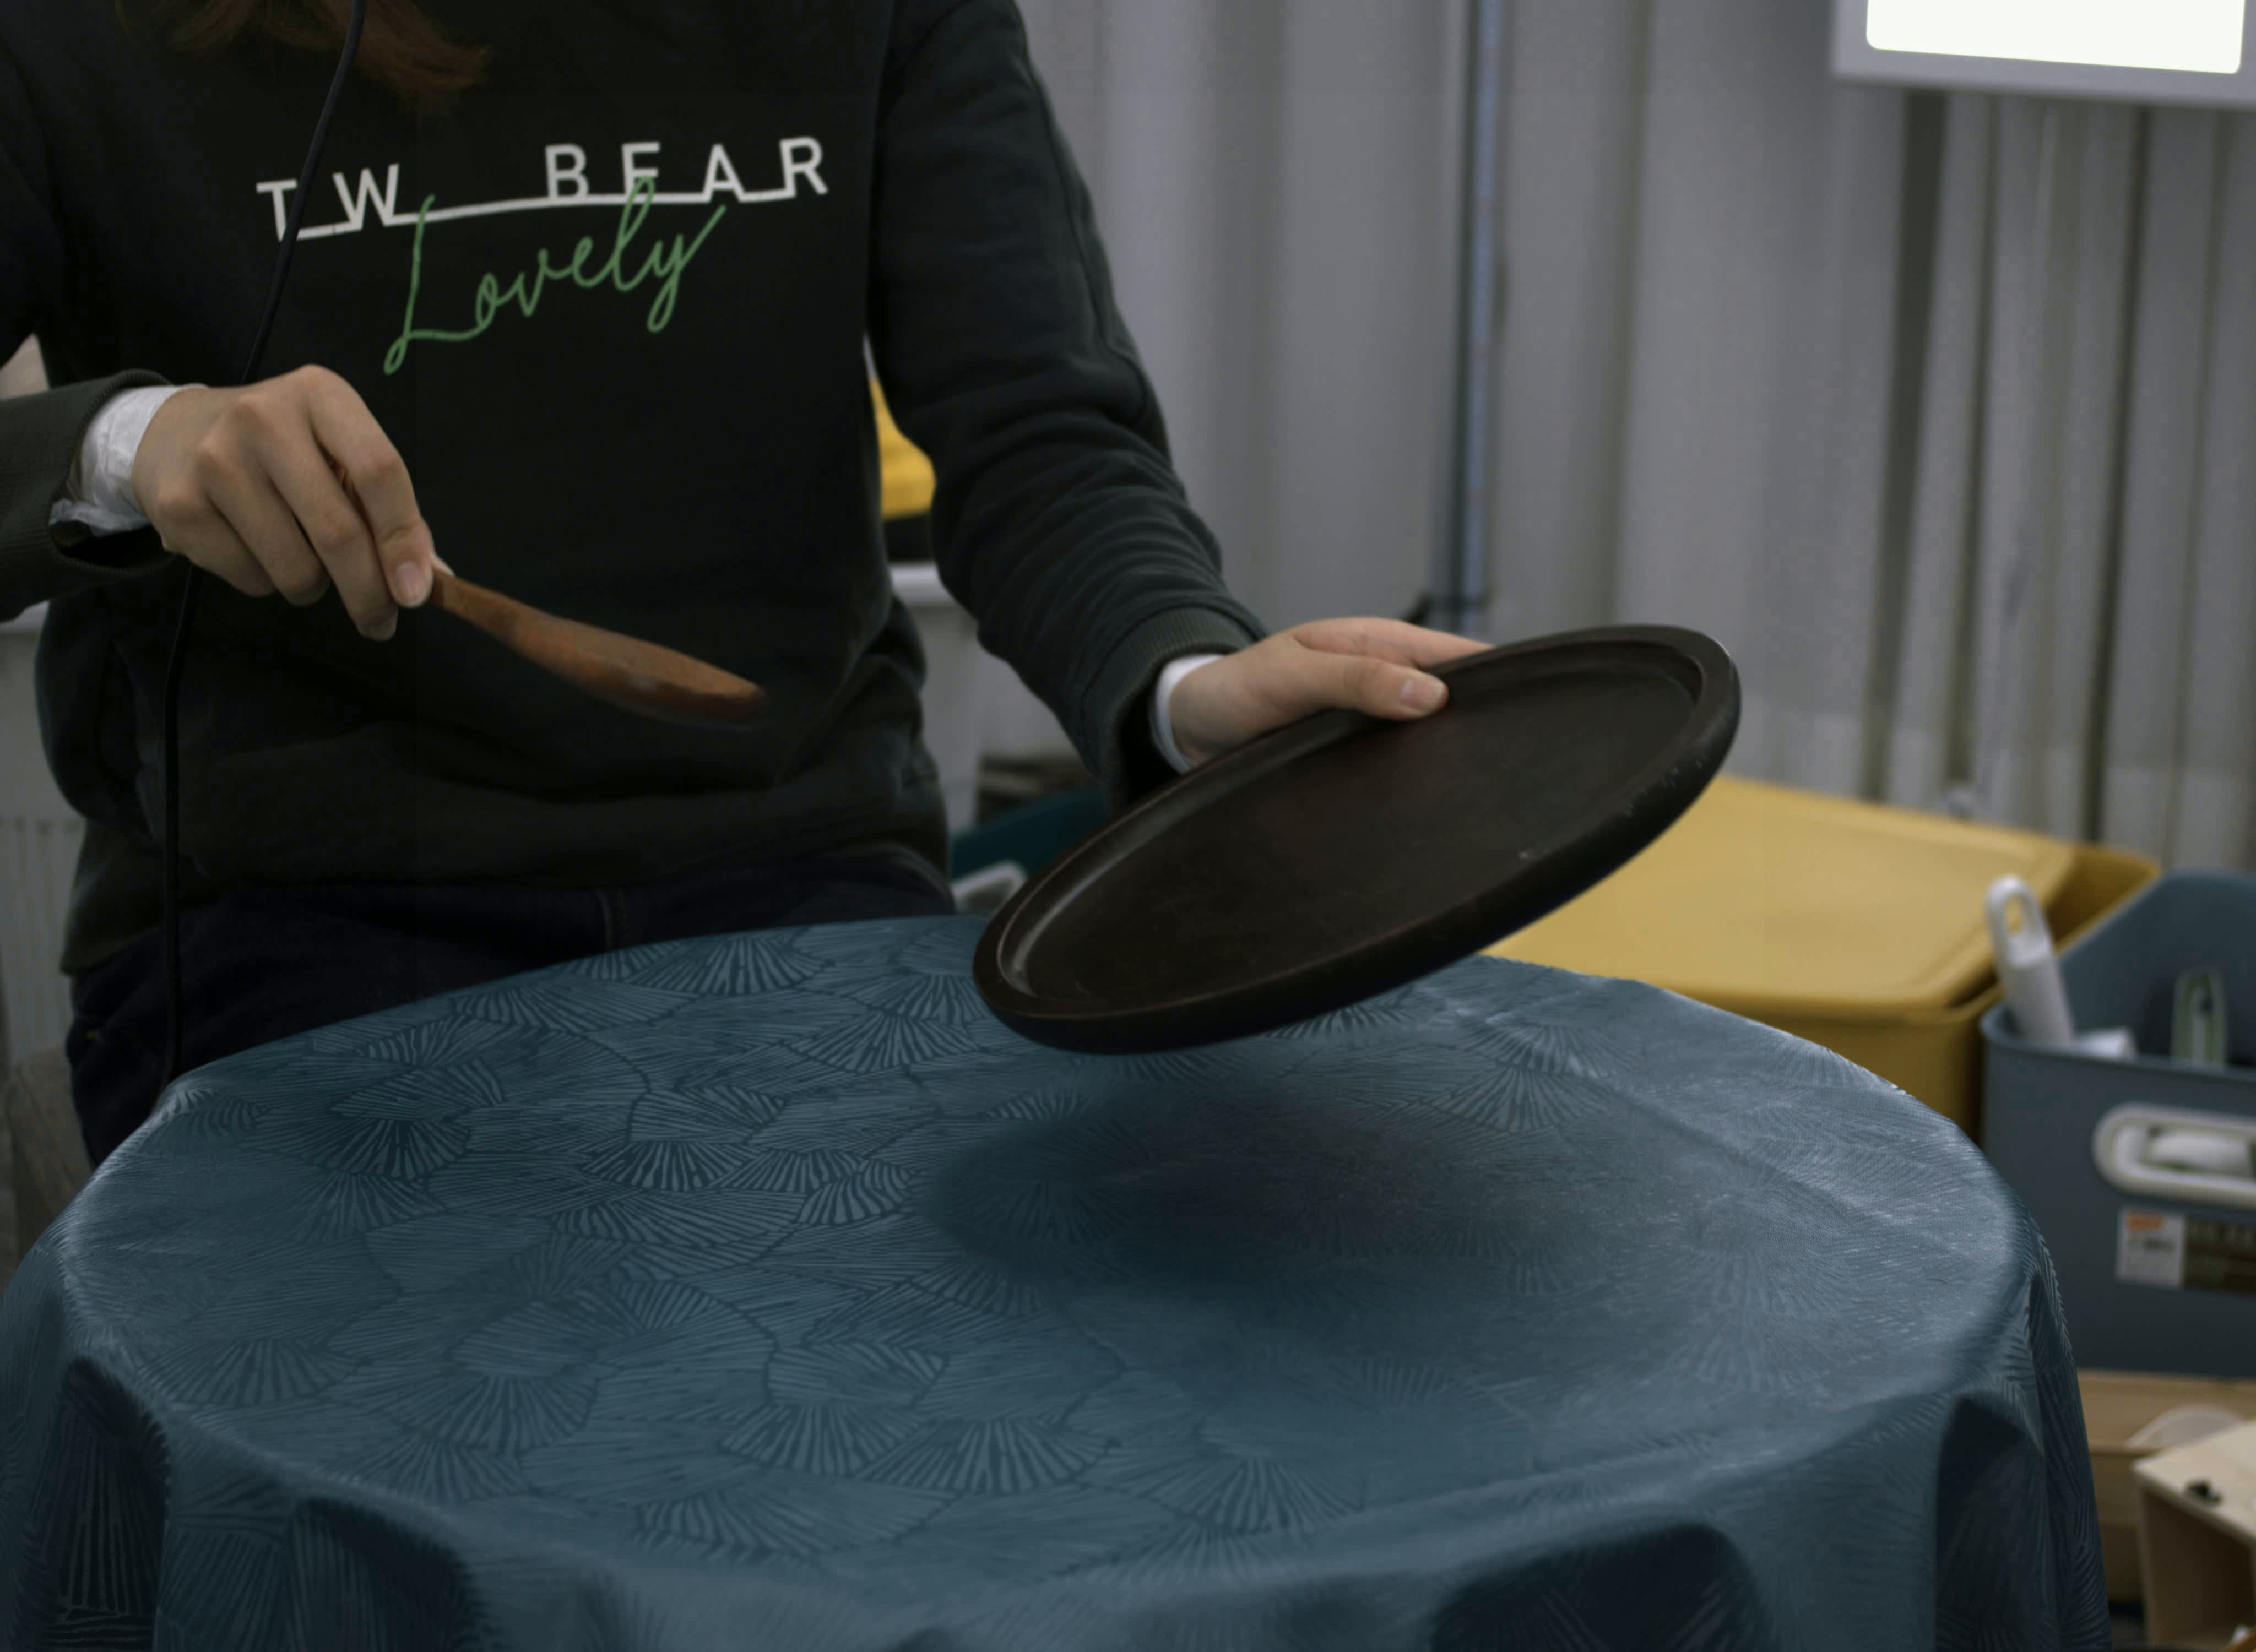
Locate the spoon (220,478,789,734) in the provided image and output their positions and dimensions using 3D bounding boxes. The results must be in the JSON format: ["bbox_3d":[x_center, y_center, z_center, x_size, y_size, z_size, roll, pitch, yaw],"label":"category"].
[{"bbox_3d":[-0.196,-0.065,1.612,0.213,0.017,0.076,24,10,27],"label":"spoon"}]

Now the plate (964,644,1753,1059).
[{"bbox_3d":[0.073,0.006,1.611,0.254,0.029,0.253,-20,16,7],"label":"plate"}]
